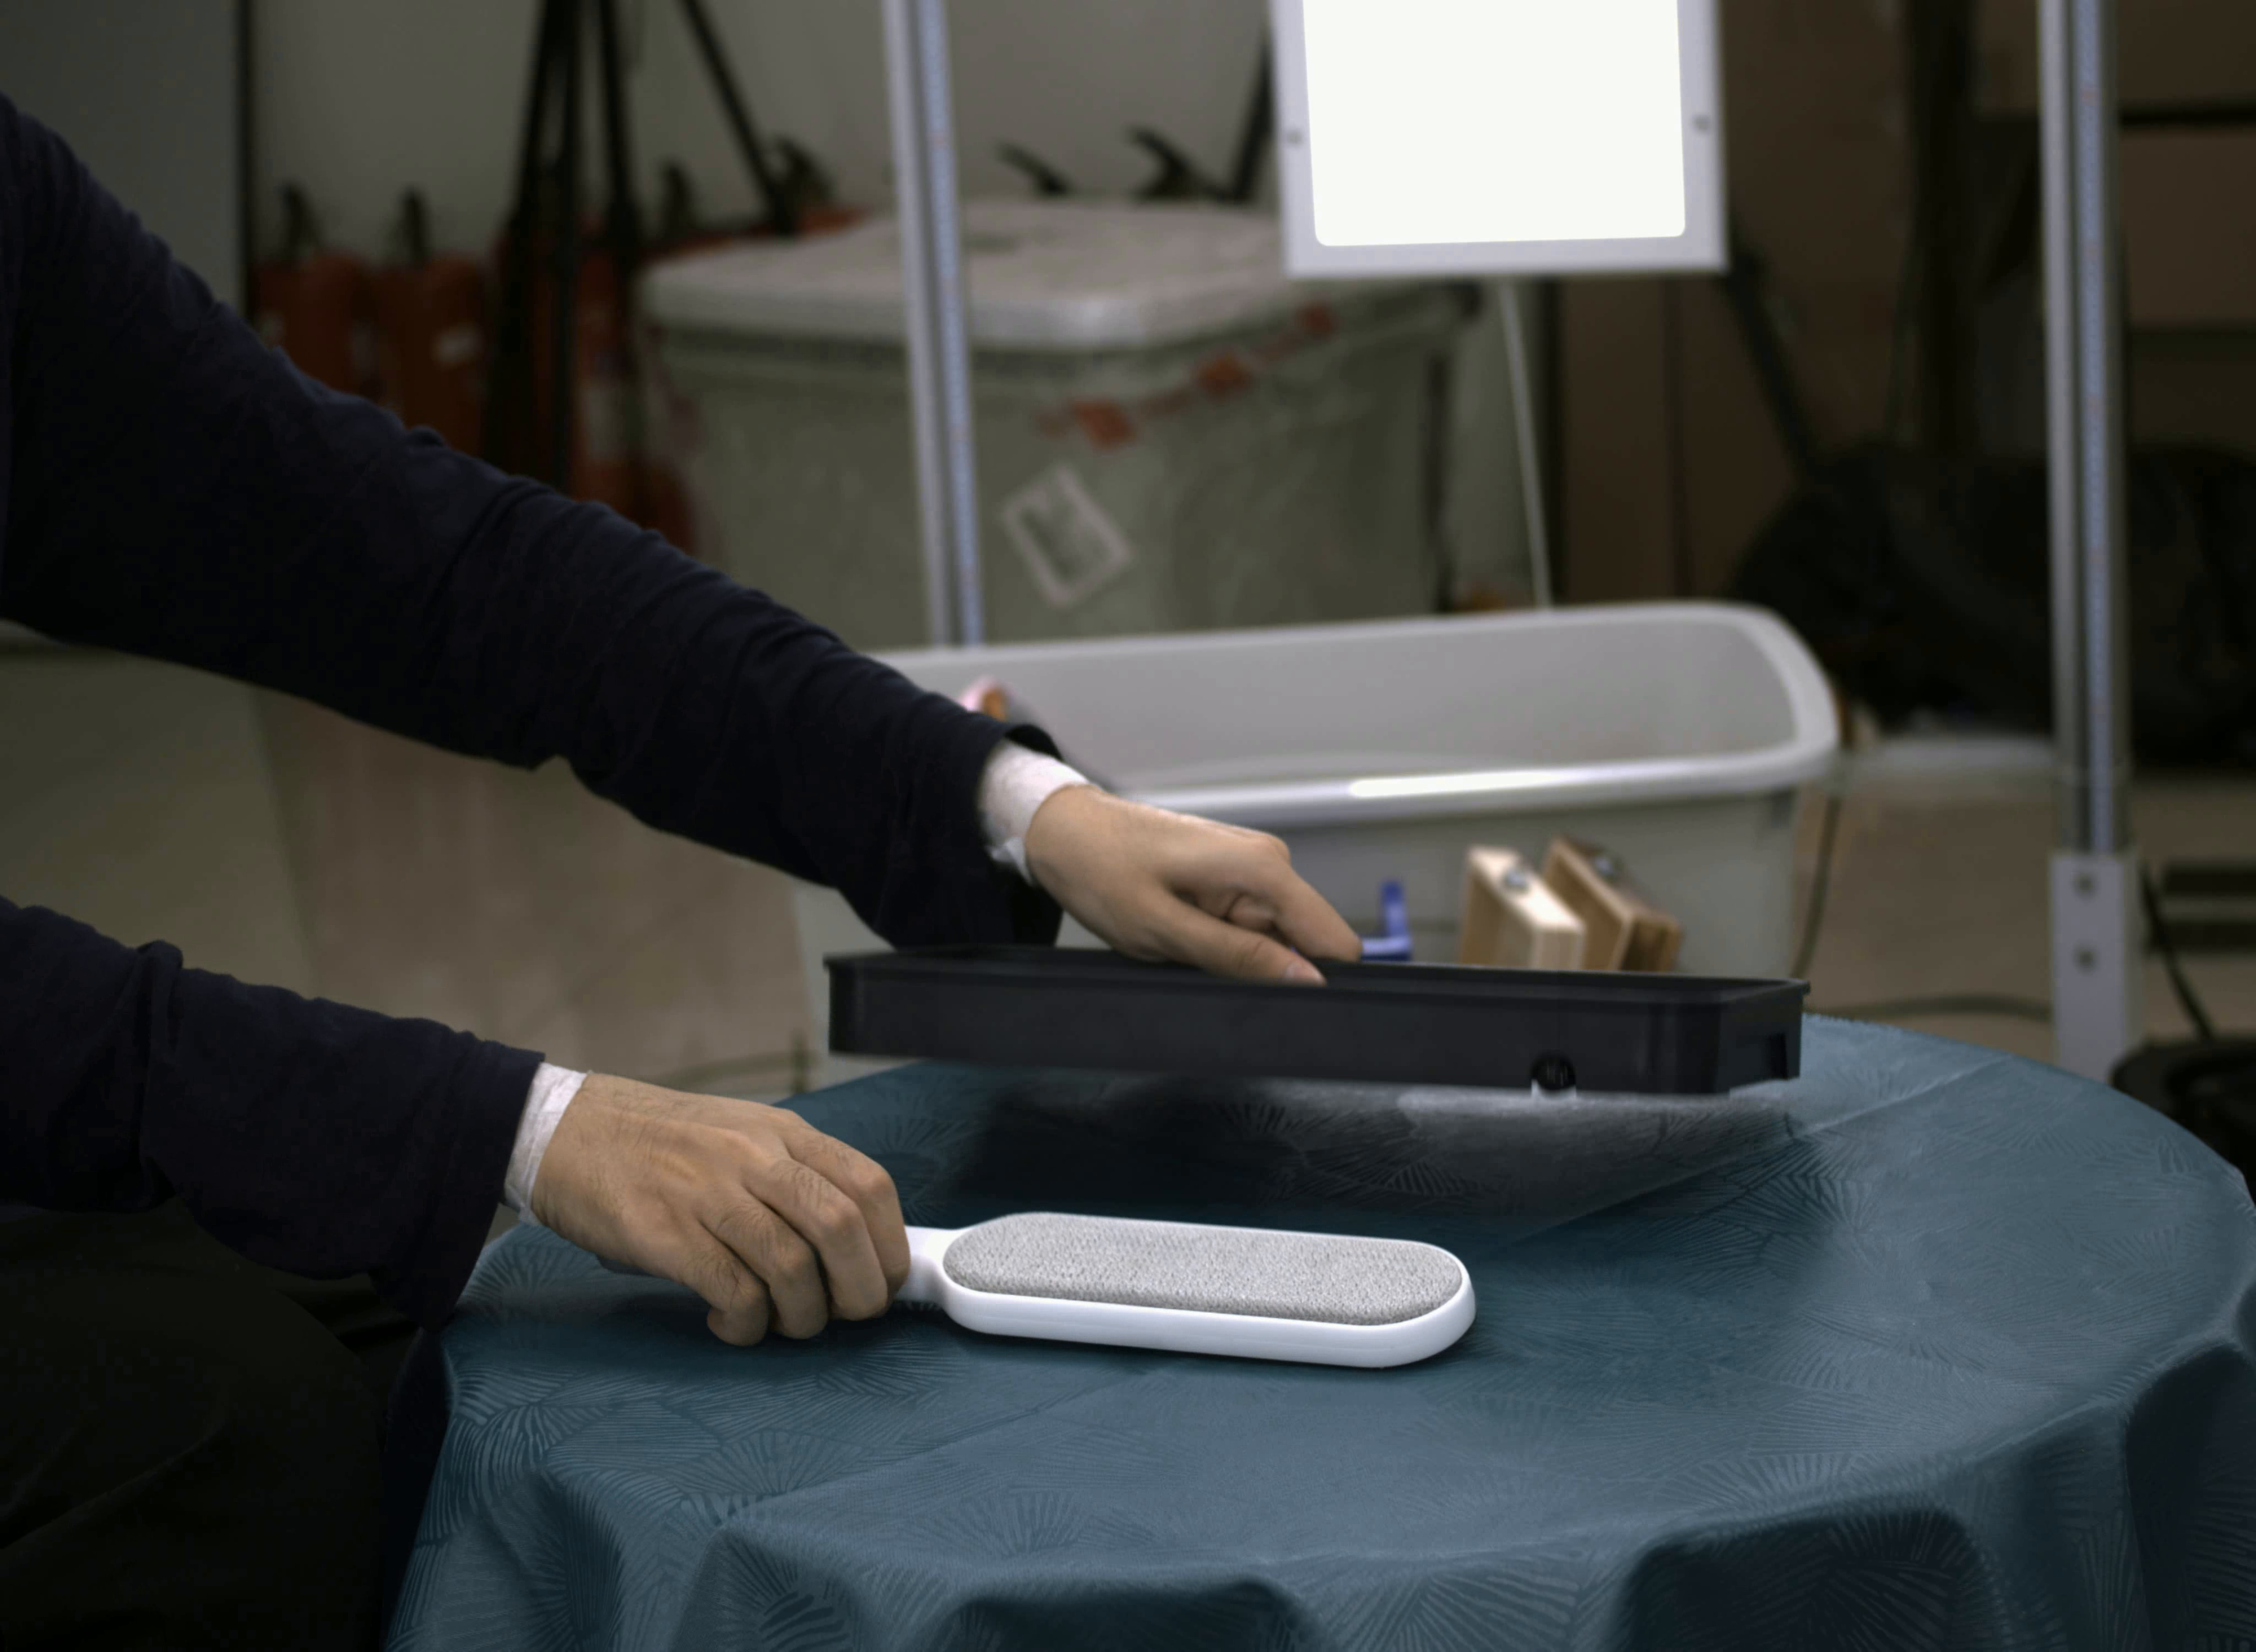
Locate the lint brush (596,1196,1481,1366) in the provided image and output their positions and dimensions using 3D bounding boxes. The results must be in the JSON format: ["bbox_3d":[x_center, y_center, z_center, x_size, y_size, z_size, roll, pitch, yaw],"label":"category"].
[{"bbox_3d":[-0.034,0.141,1.775,0.314,0.021,0.059,3,30,25],"label":"lint brush"}]

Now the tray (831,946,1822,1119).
[{"bbox_3d":[0.070,0.070,1.911,0.322,0.037,0.181,2,2,22],"label":"tray"}]
